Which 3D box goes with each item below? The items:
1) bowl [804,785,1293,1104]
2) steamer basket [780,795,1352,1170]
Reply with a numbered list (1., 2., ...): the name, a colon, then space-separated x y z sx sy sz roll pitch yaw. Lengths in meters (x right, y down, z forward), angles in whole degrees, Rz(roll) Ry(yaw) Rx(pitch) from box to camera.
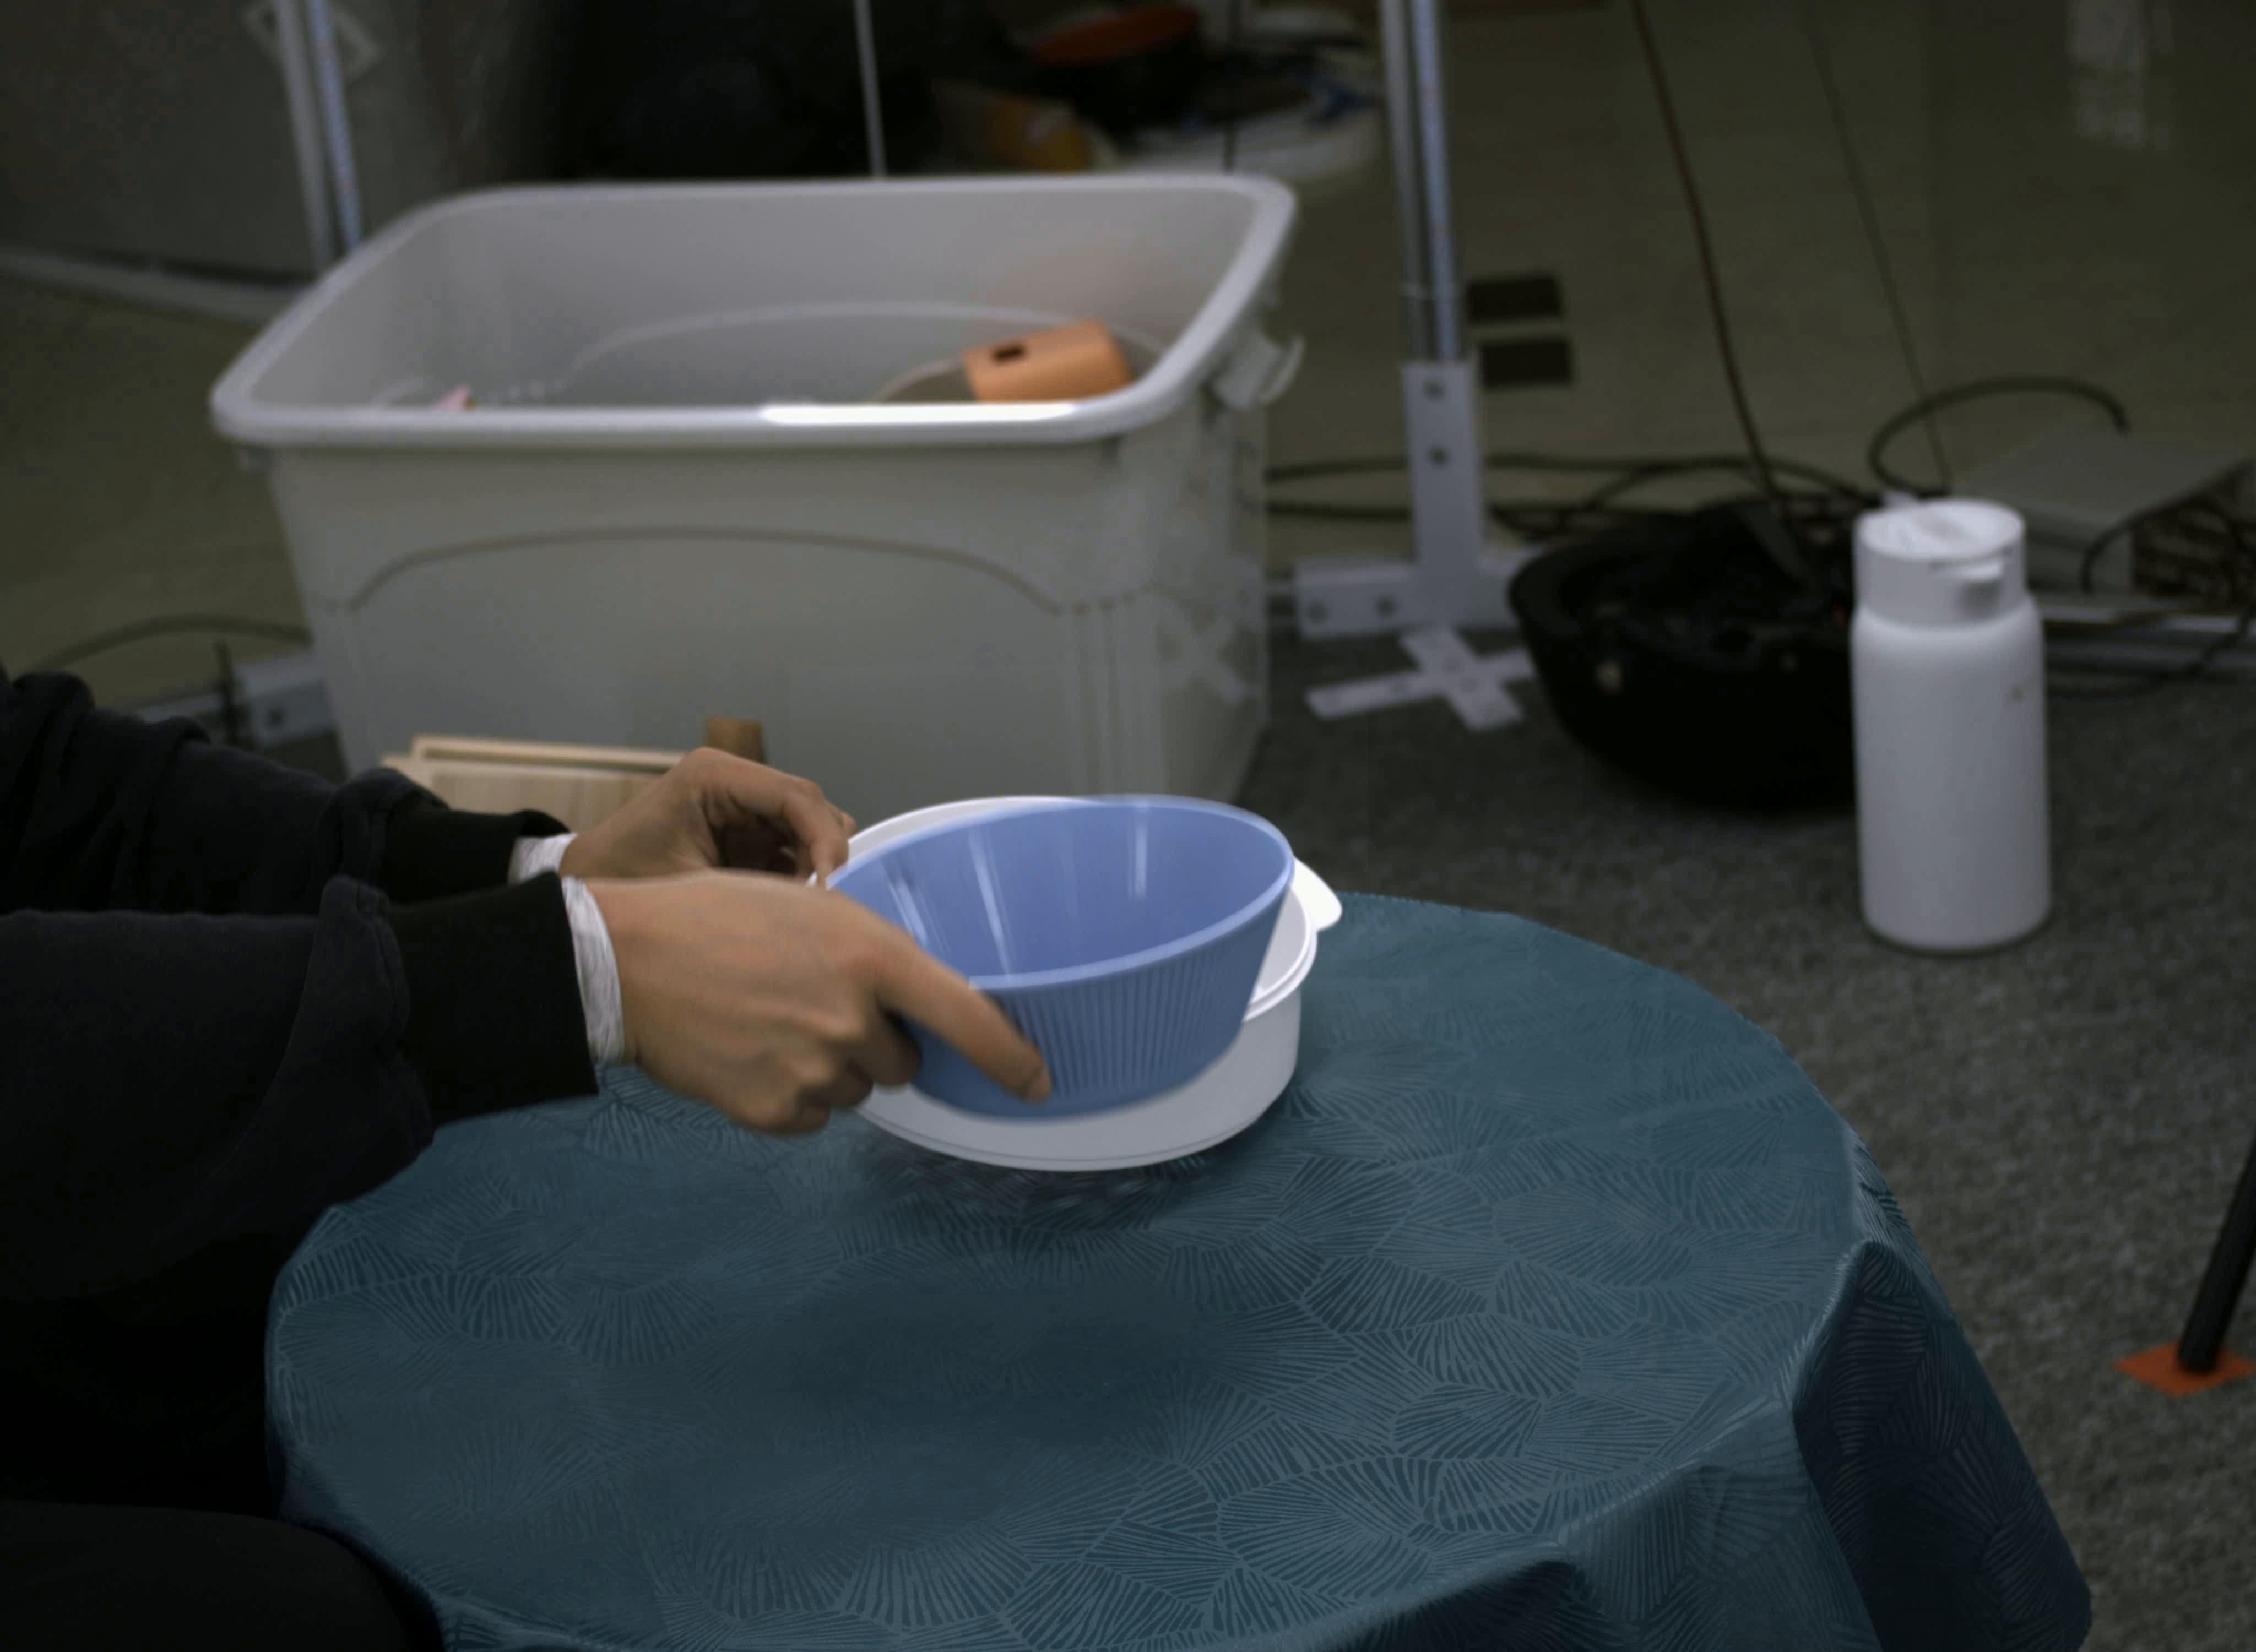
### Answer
1. bowl: -0.024 0.046 2.018 0.176 0.071 0.174 -7 20 3
2. steamer basket: -0.024 0.061 2.206 0.230 0.070 0.199 -7 30 -25
